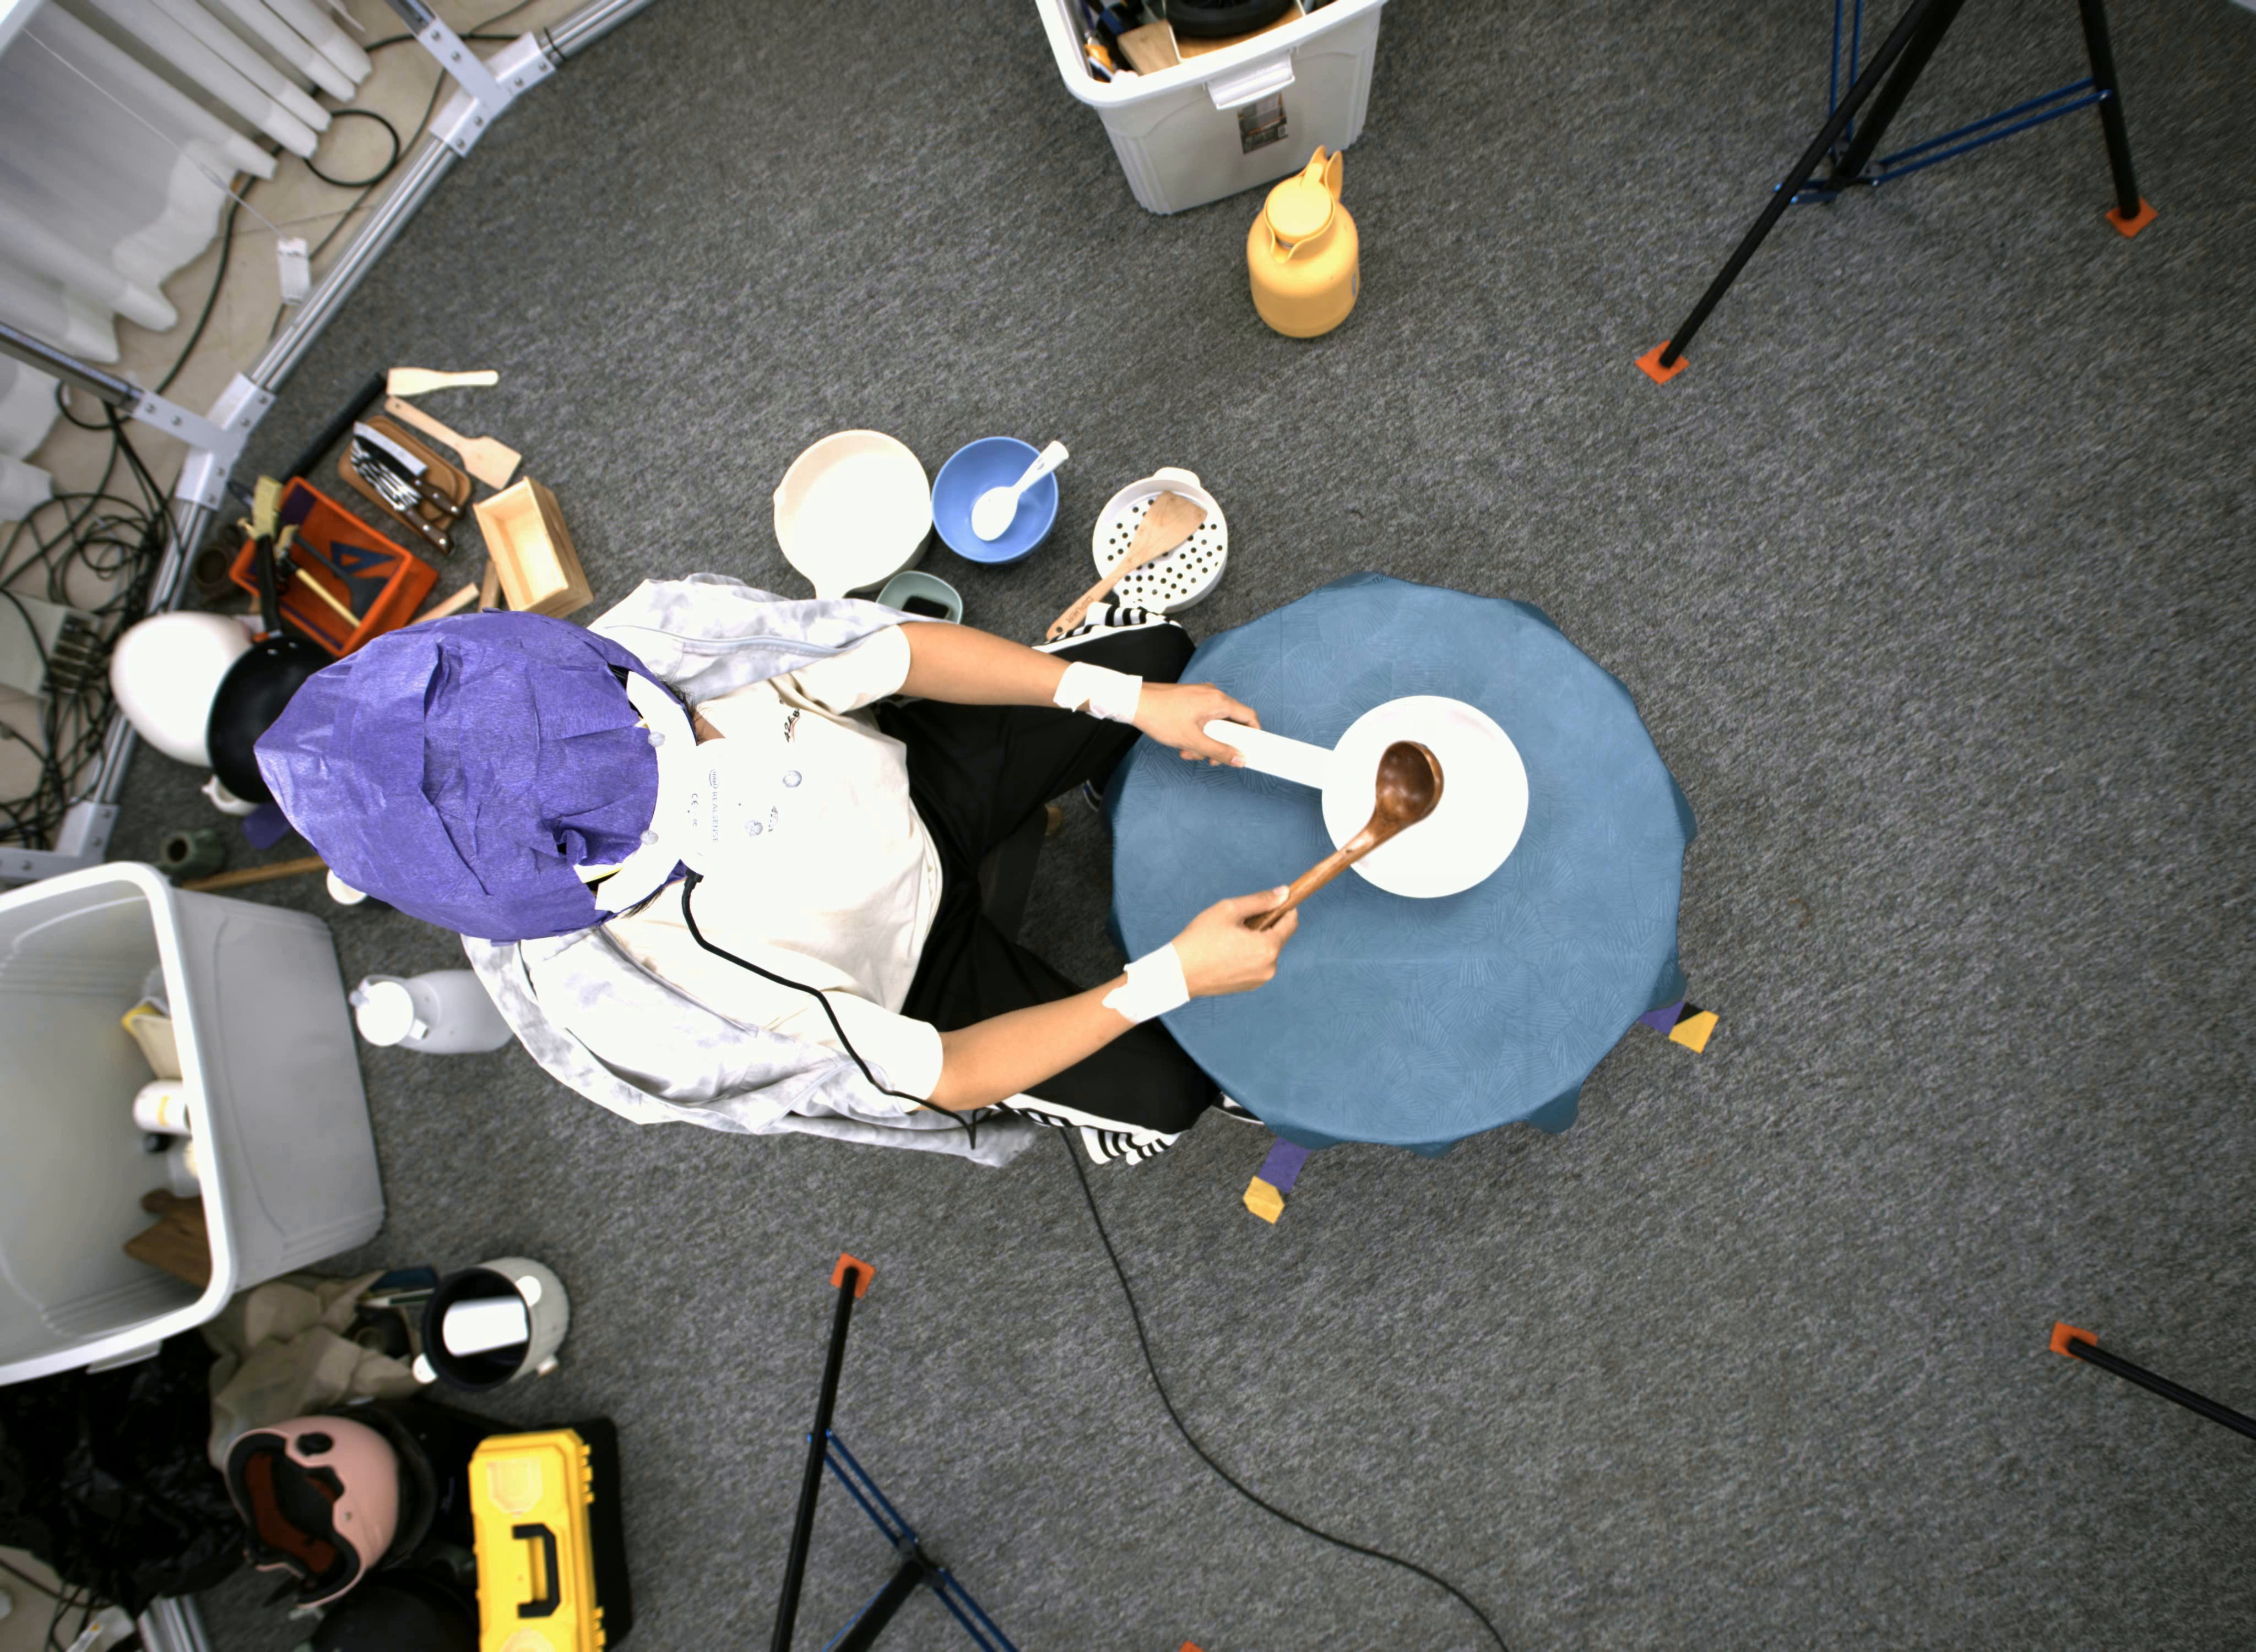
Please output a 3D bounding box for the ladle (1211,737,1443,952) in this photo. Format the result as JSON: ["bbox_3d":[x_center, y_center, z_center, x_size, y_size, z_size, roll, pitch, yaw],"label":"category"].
[{"bbox_3d":[0.182,0.014,1.296,0.273,0.081,0.078,-34,122,-6],"label":"ladle"}]

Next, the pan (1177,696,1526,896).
[{"bbox_3d":[0.228,-0.049,1.423,0.355,0.102,0.201,17,90,12],"label":"pan"}]
